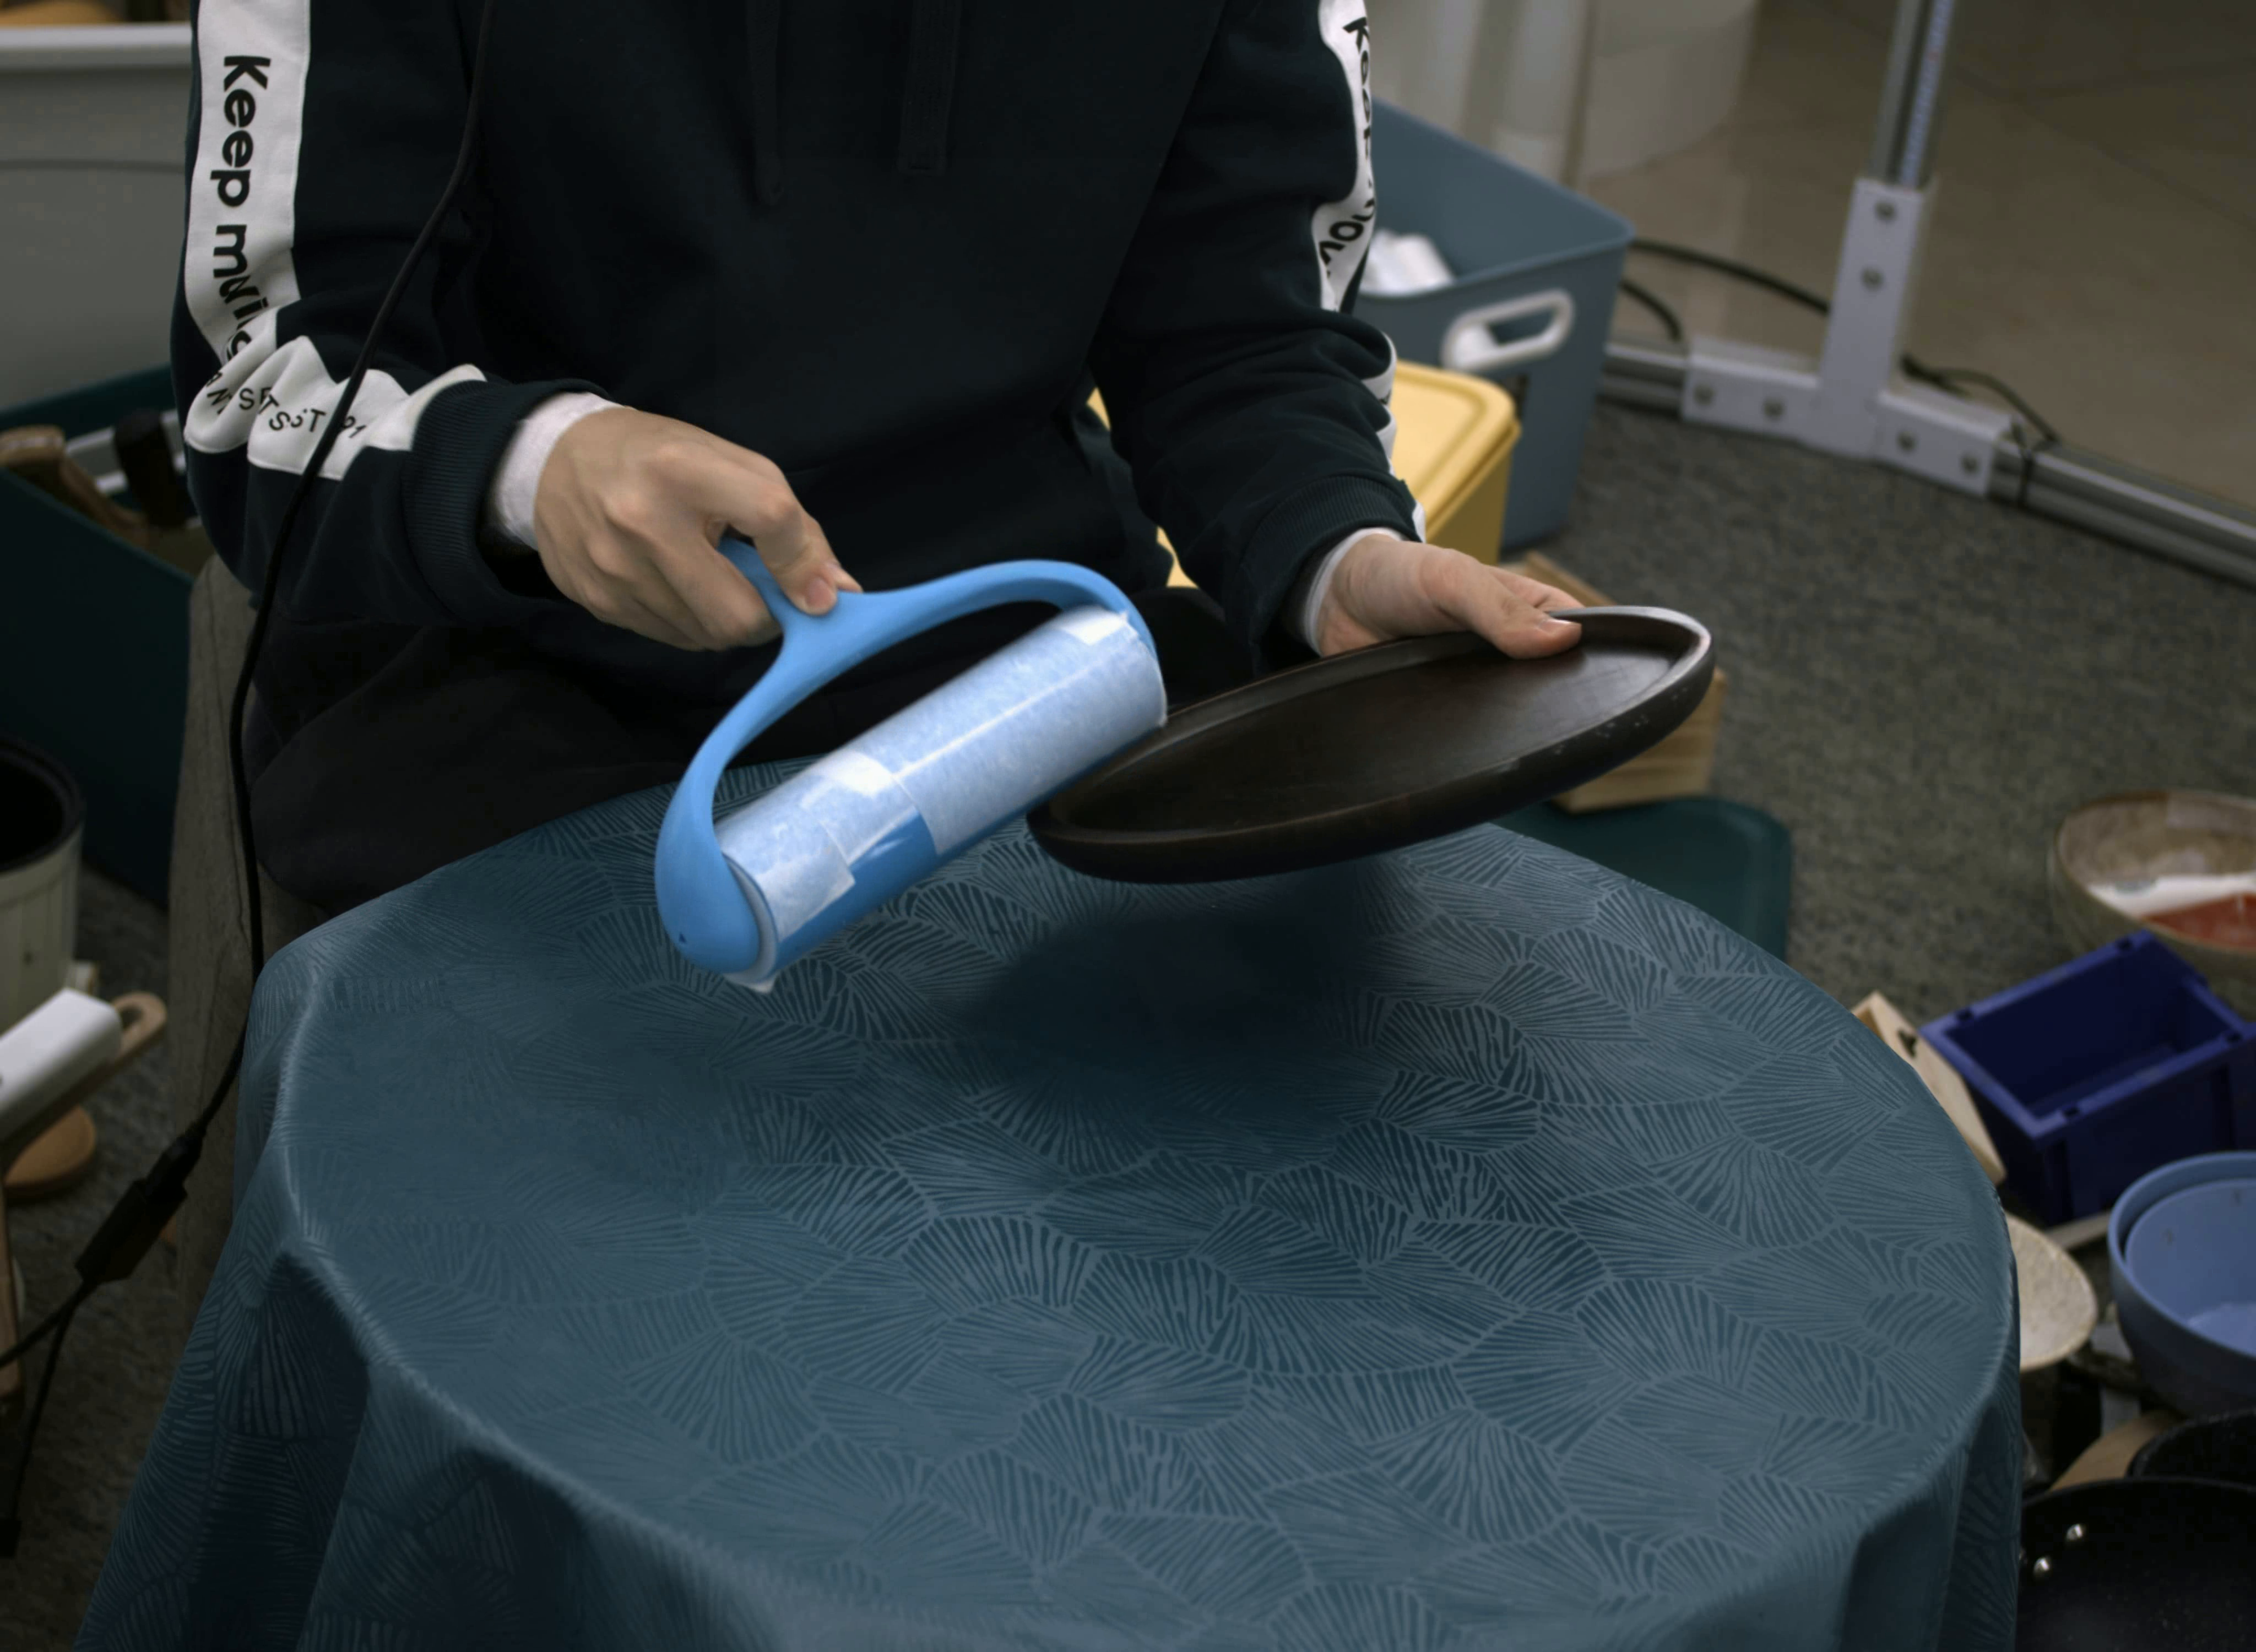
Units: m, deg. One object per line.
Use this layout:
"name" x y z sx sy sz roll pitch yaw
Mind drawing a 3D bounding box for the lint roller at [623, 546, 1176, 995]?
"lint roller" -0.109 -0.049 1.857 0.181 0.067 0.228 42 53 16

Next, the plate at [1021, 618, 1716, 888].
"plate" 0.085 -0.027 1.883 0.254 0.029 0.255 -14 13 3
